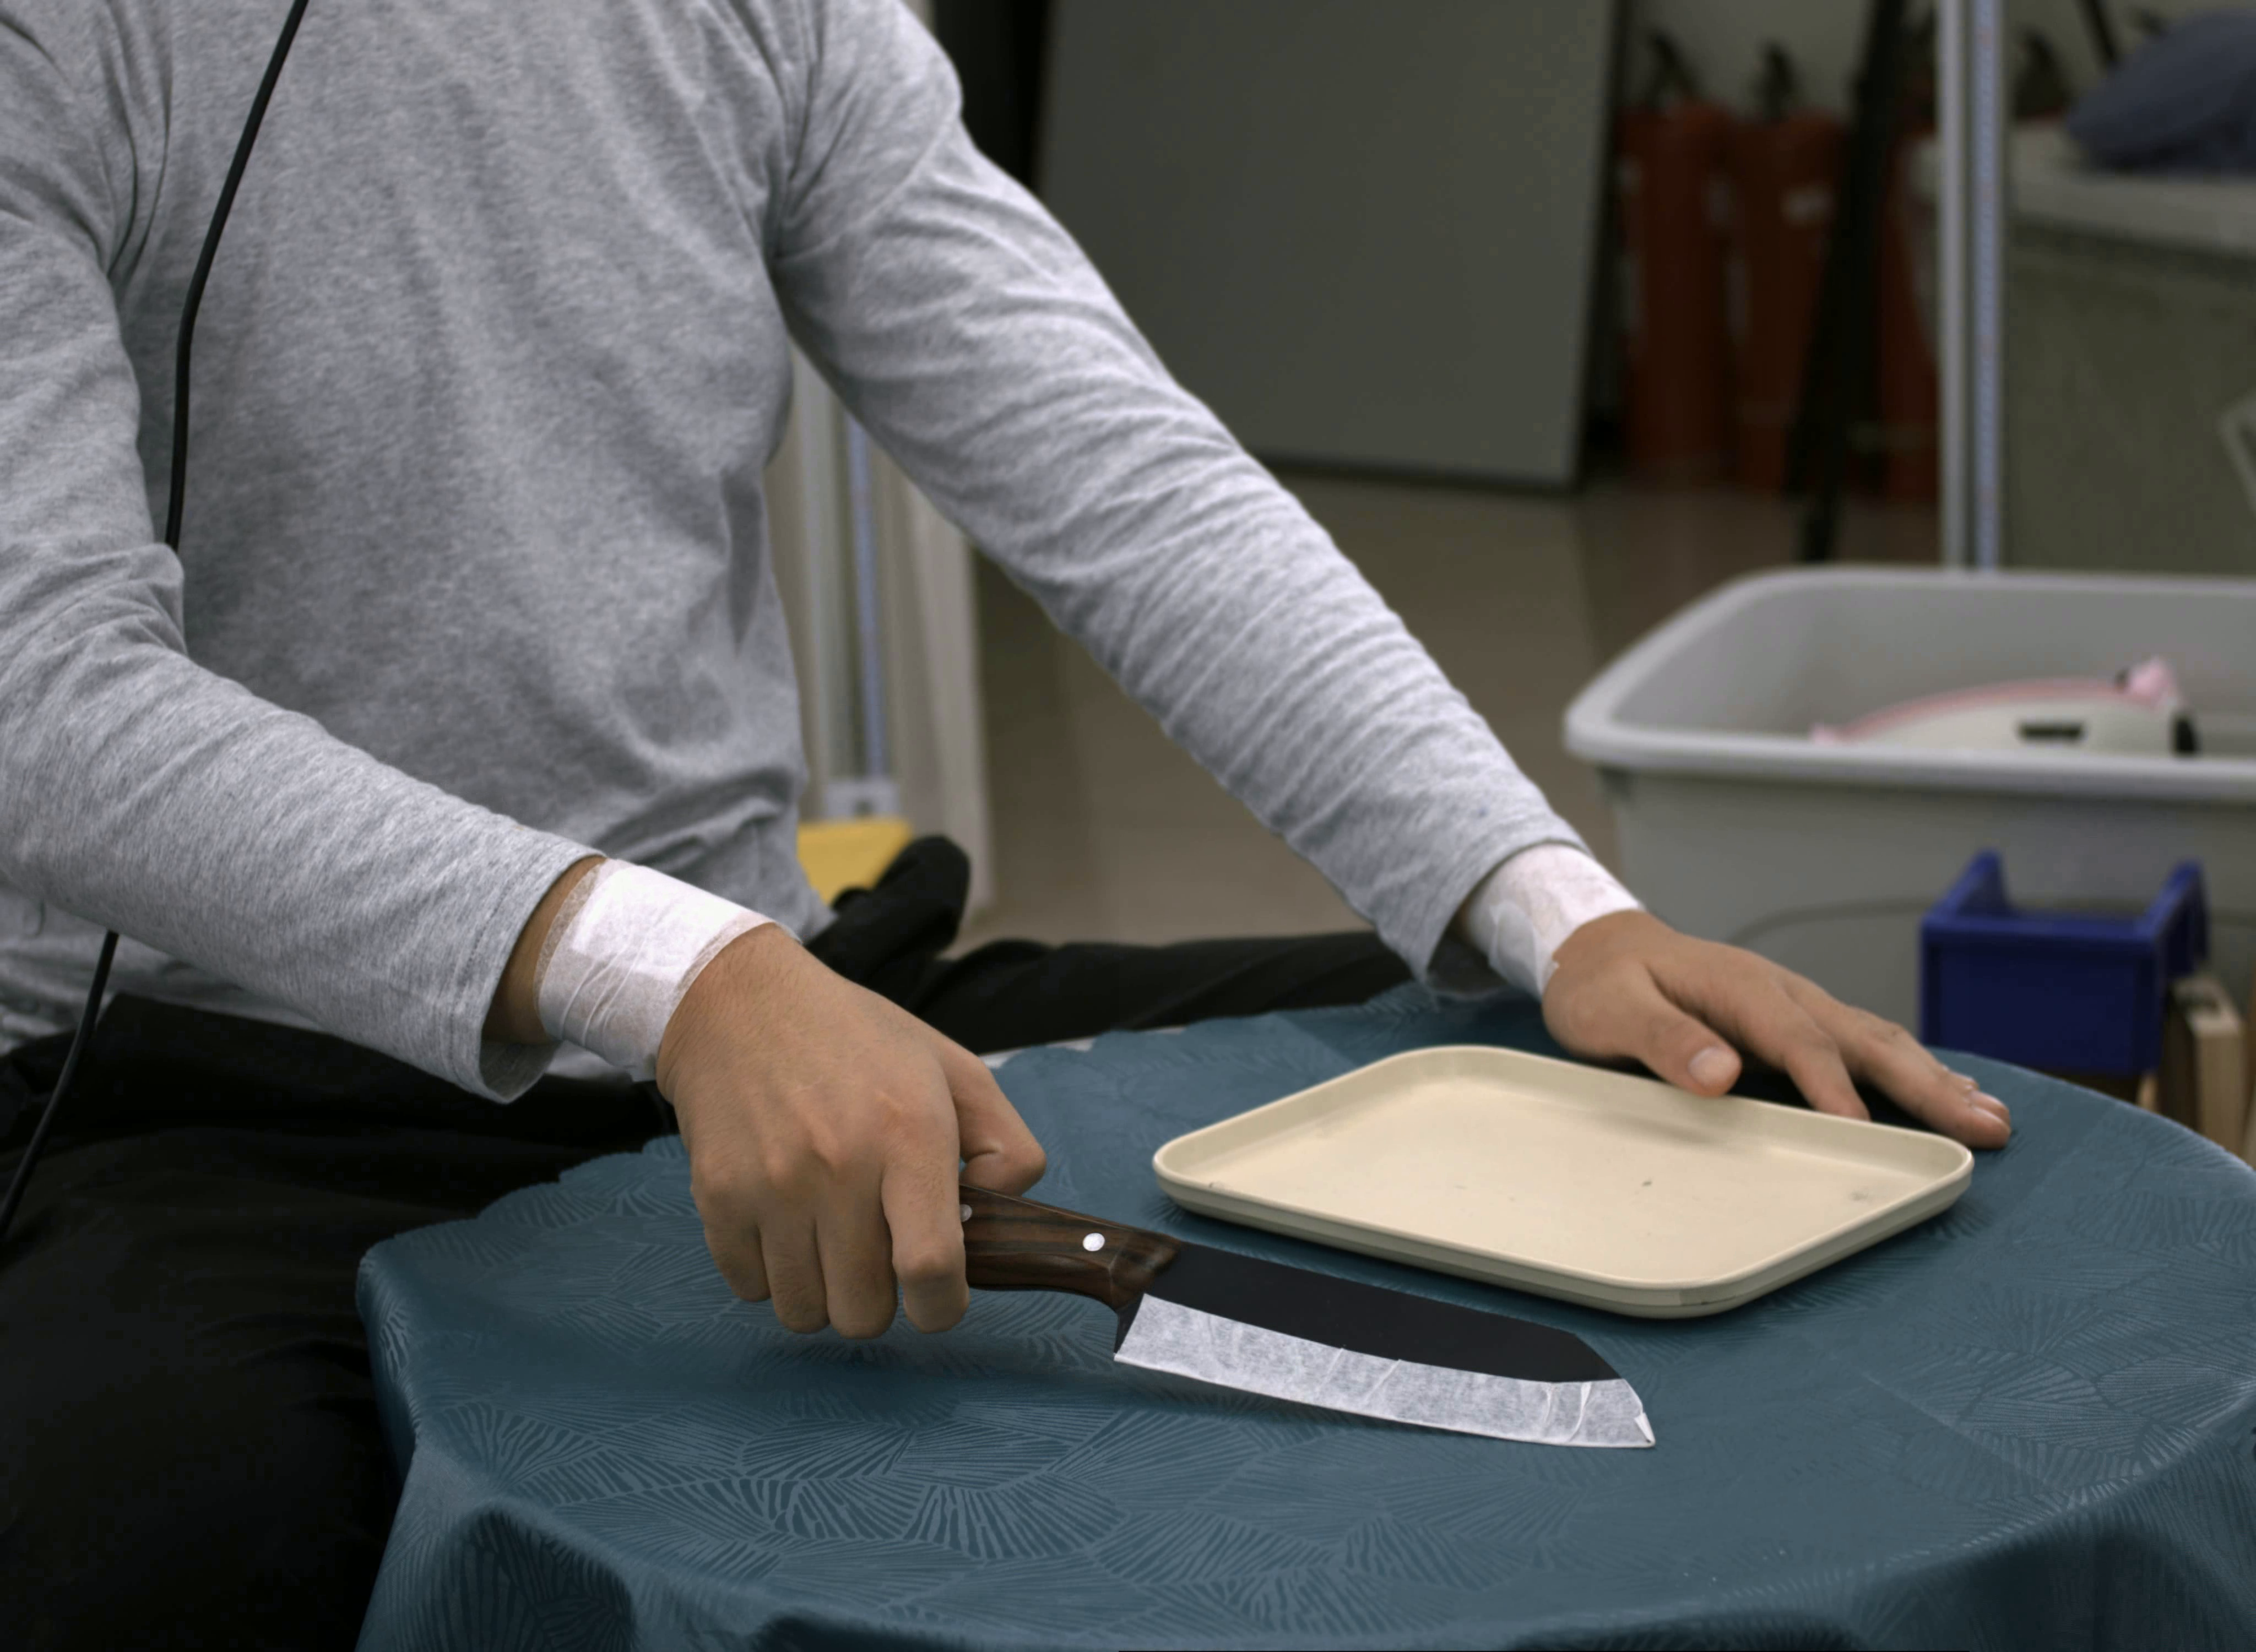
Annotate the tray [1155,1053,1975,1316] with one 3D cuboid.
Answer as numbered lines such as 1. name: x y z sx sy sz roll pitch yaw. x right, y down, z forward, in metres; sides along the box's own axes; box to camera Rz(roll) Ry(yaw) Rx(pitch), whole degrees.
1. tray: 0.139 0.114 1.727 0.242 0.017 0.168 9 18 44

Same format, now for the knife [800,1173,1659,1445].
1. knife: 0.025 0.142 1.580 0.290 0.020 0.050 12 58 28
